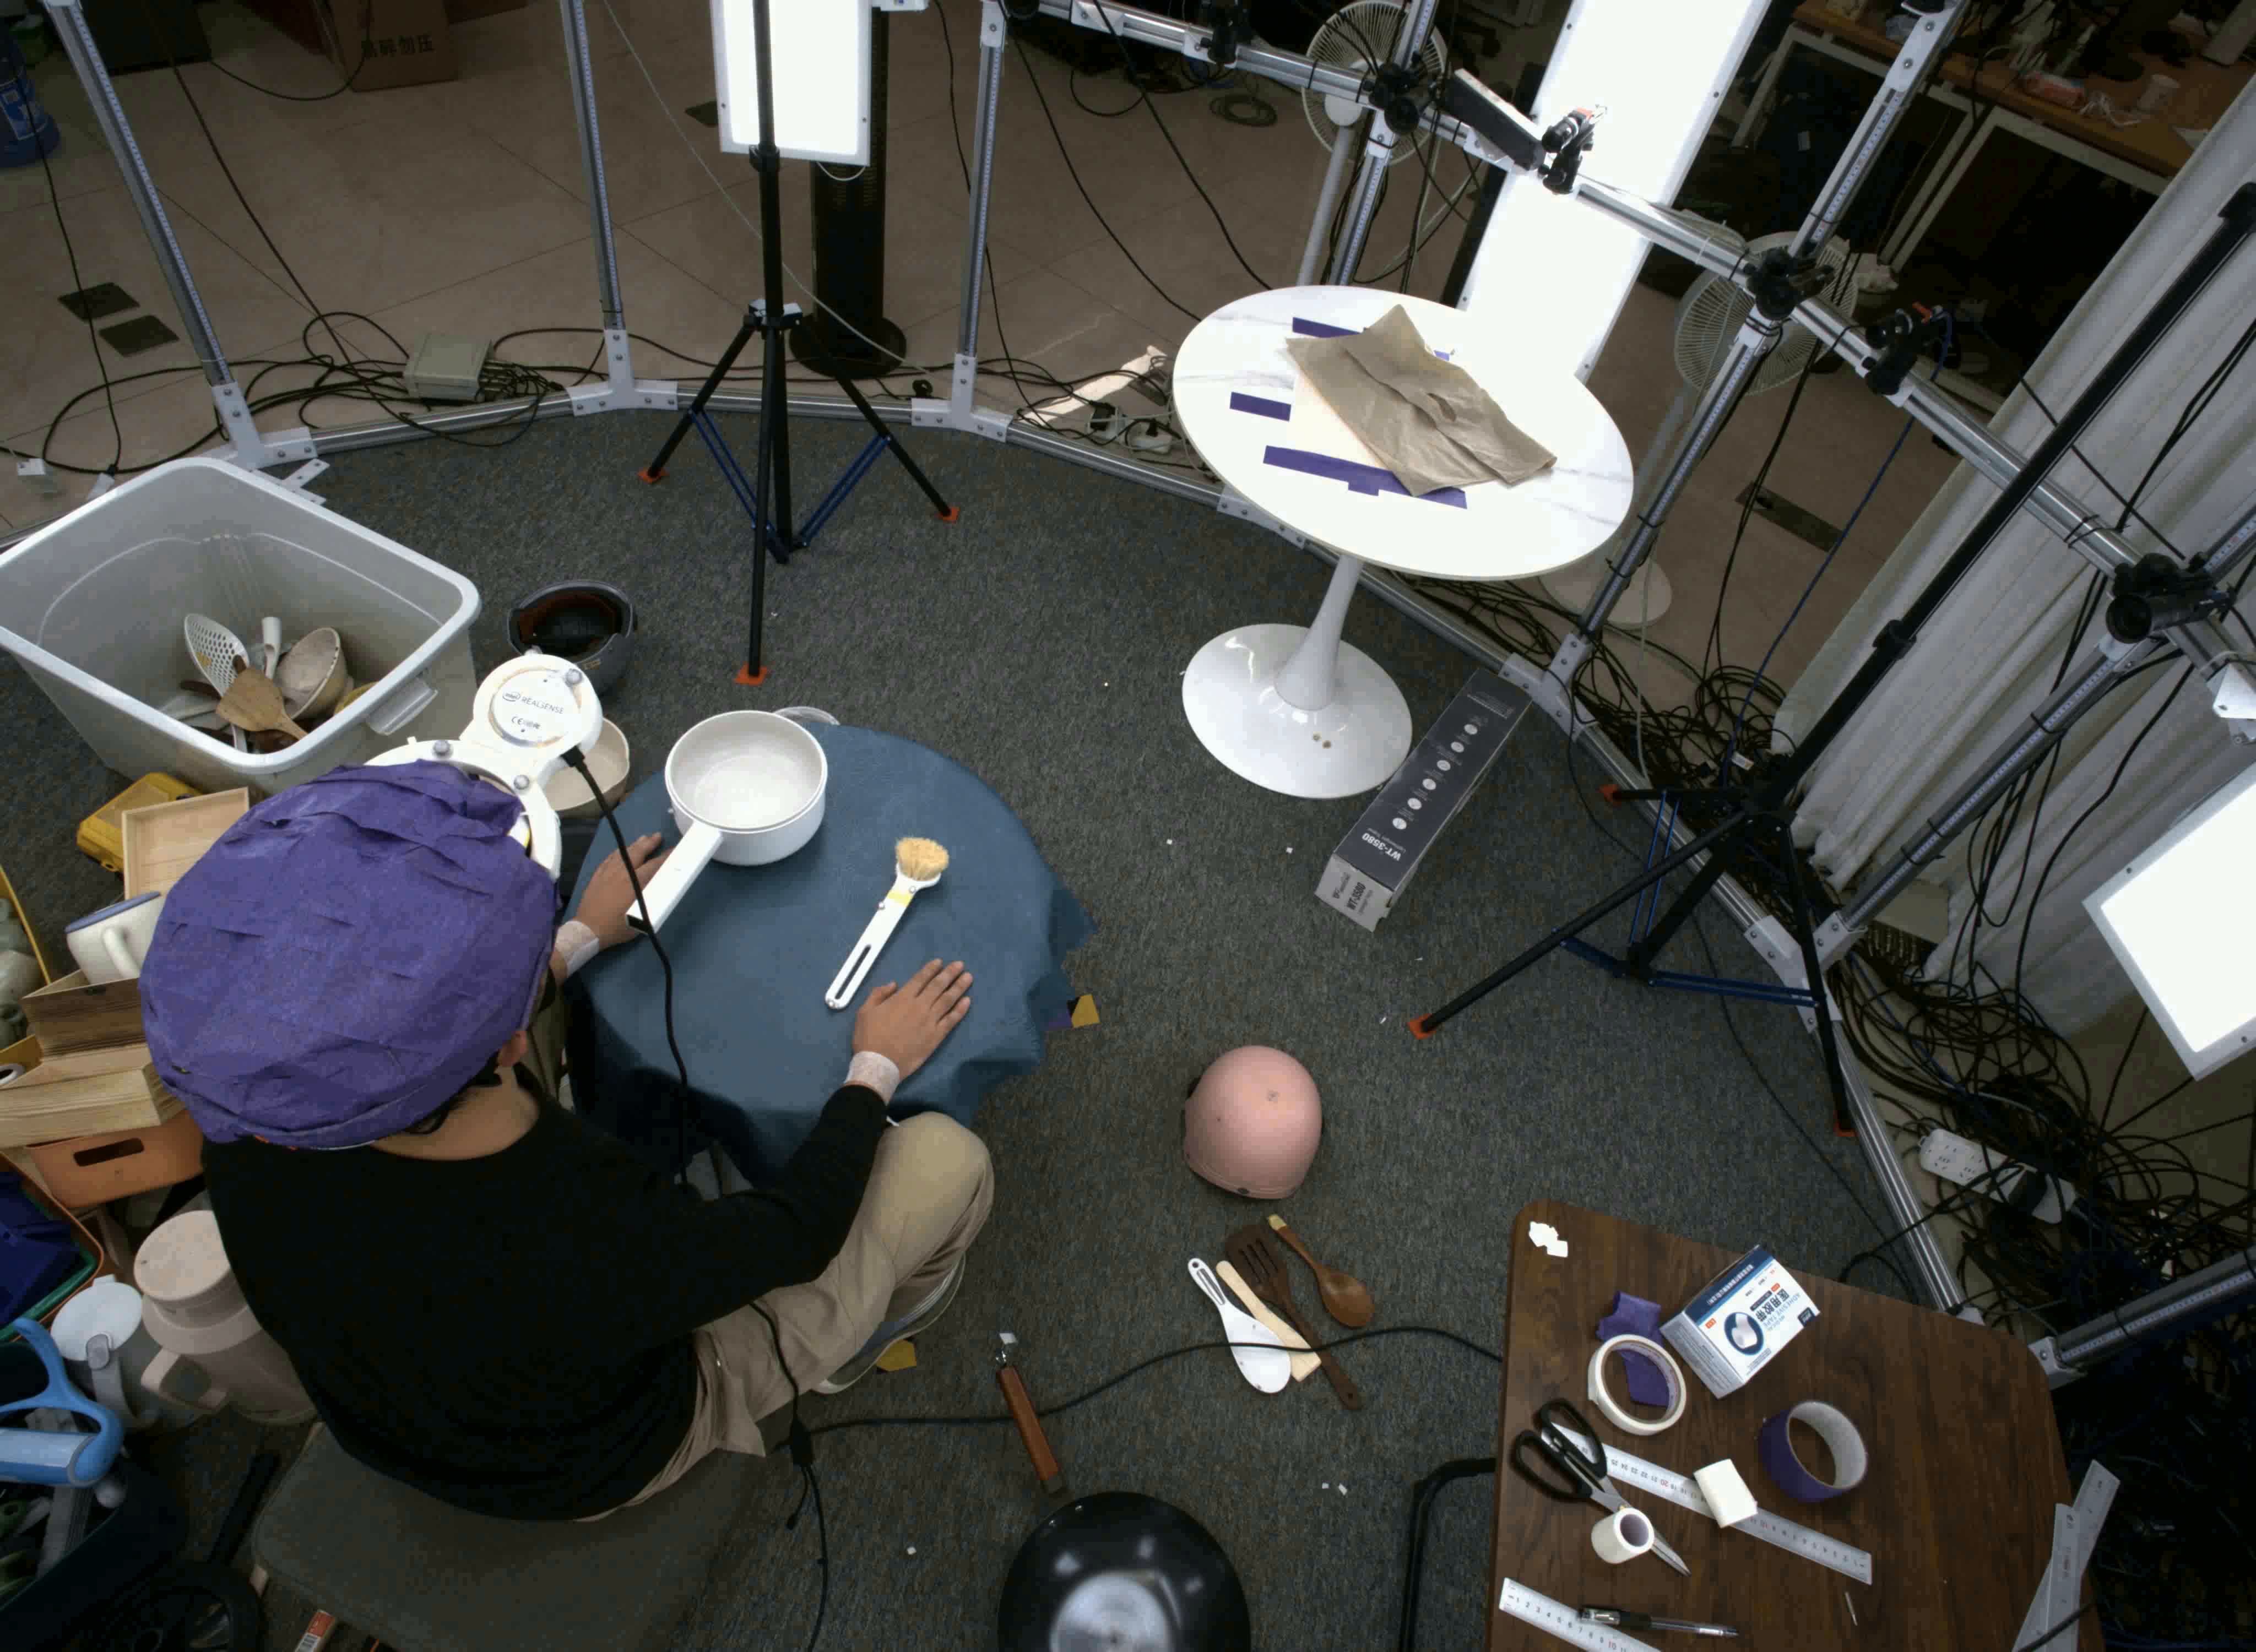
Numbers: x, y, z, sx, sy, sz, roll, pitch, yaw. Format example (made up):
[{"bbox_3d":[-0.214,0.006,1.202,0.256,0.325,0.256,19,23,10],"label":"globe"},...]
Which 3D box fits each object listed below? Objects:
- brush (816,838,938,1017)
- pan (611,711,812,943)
[{"bbox_3d":[-0.316,0.118,1.625,0.067,0.057,0.264,21,52,9],"label":"brush"},{"bbox_3d":[-0.533,0.014,1.618,0.199,0.104,0.351,22,52,1],"label":"pan"}]
